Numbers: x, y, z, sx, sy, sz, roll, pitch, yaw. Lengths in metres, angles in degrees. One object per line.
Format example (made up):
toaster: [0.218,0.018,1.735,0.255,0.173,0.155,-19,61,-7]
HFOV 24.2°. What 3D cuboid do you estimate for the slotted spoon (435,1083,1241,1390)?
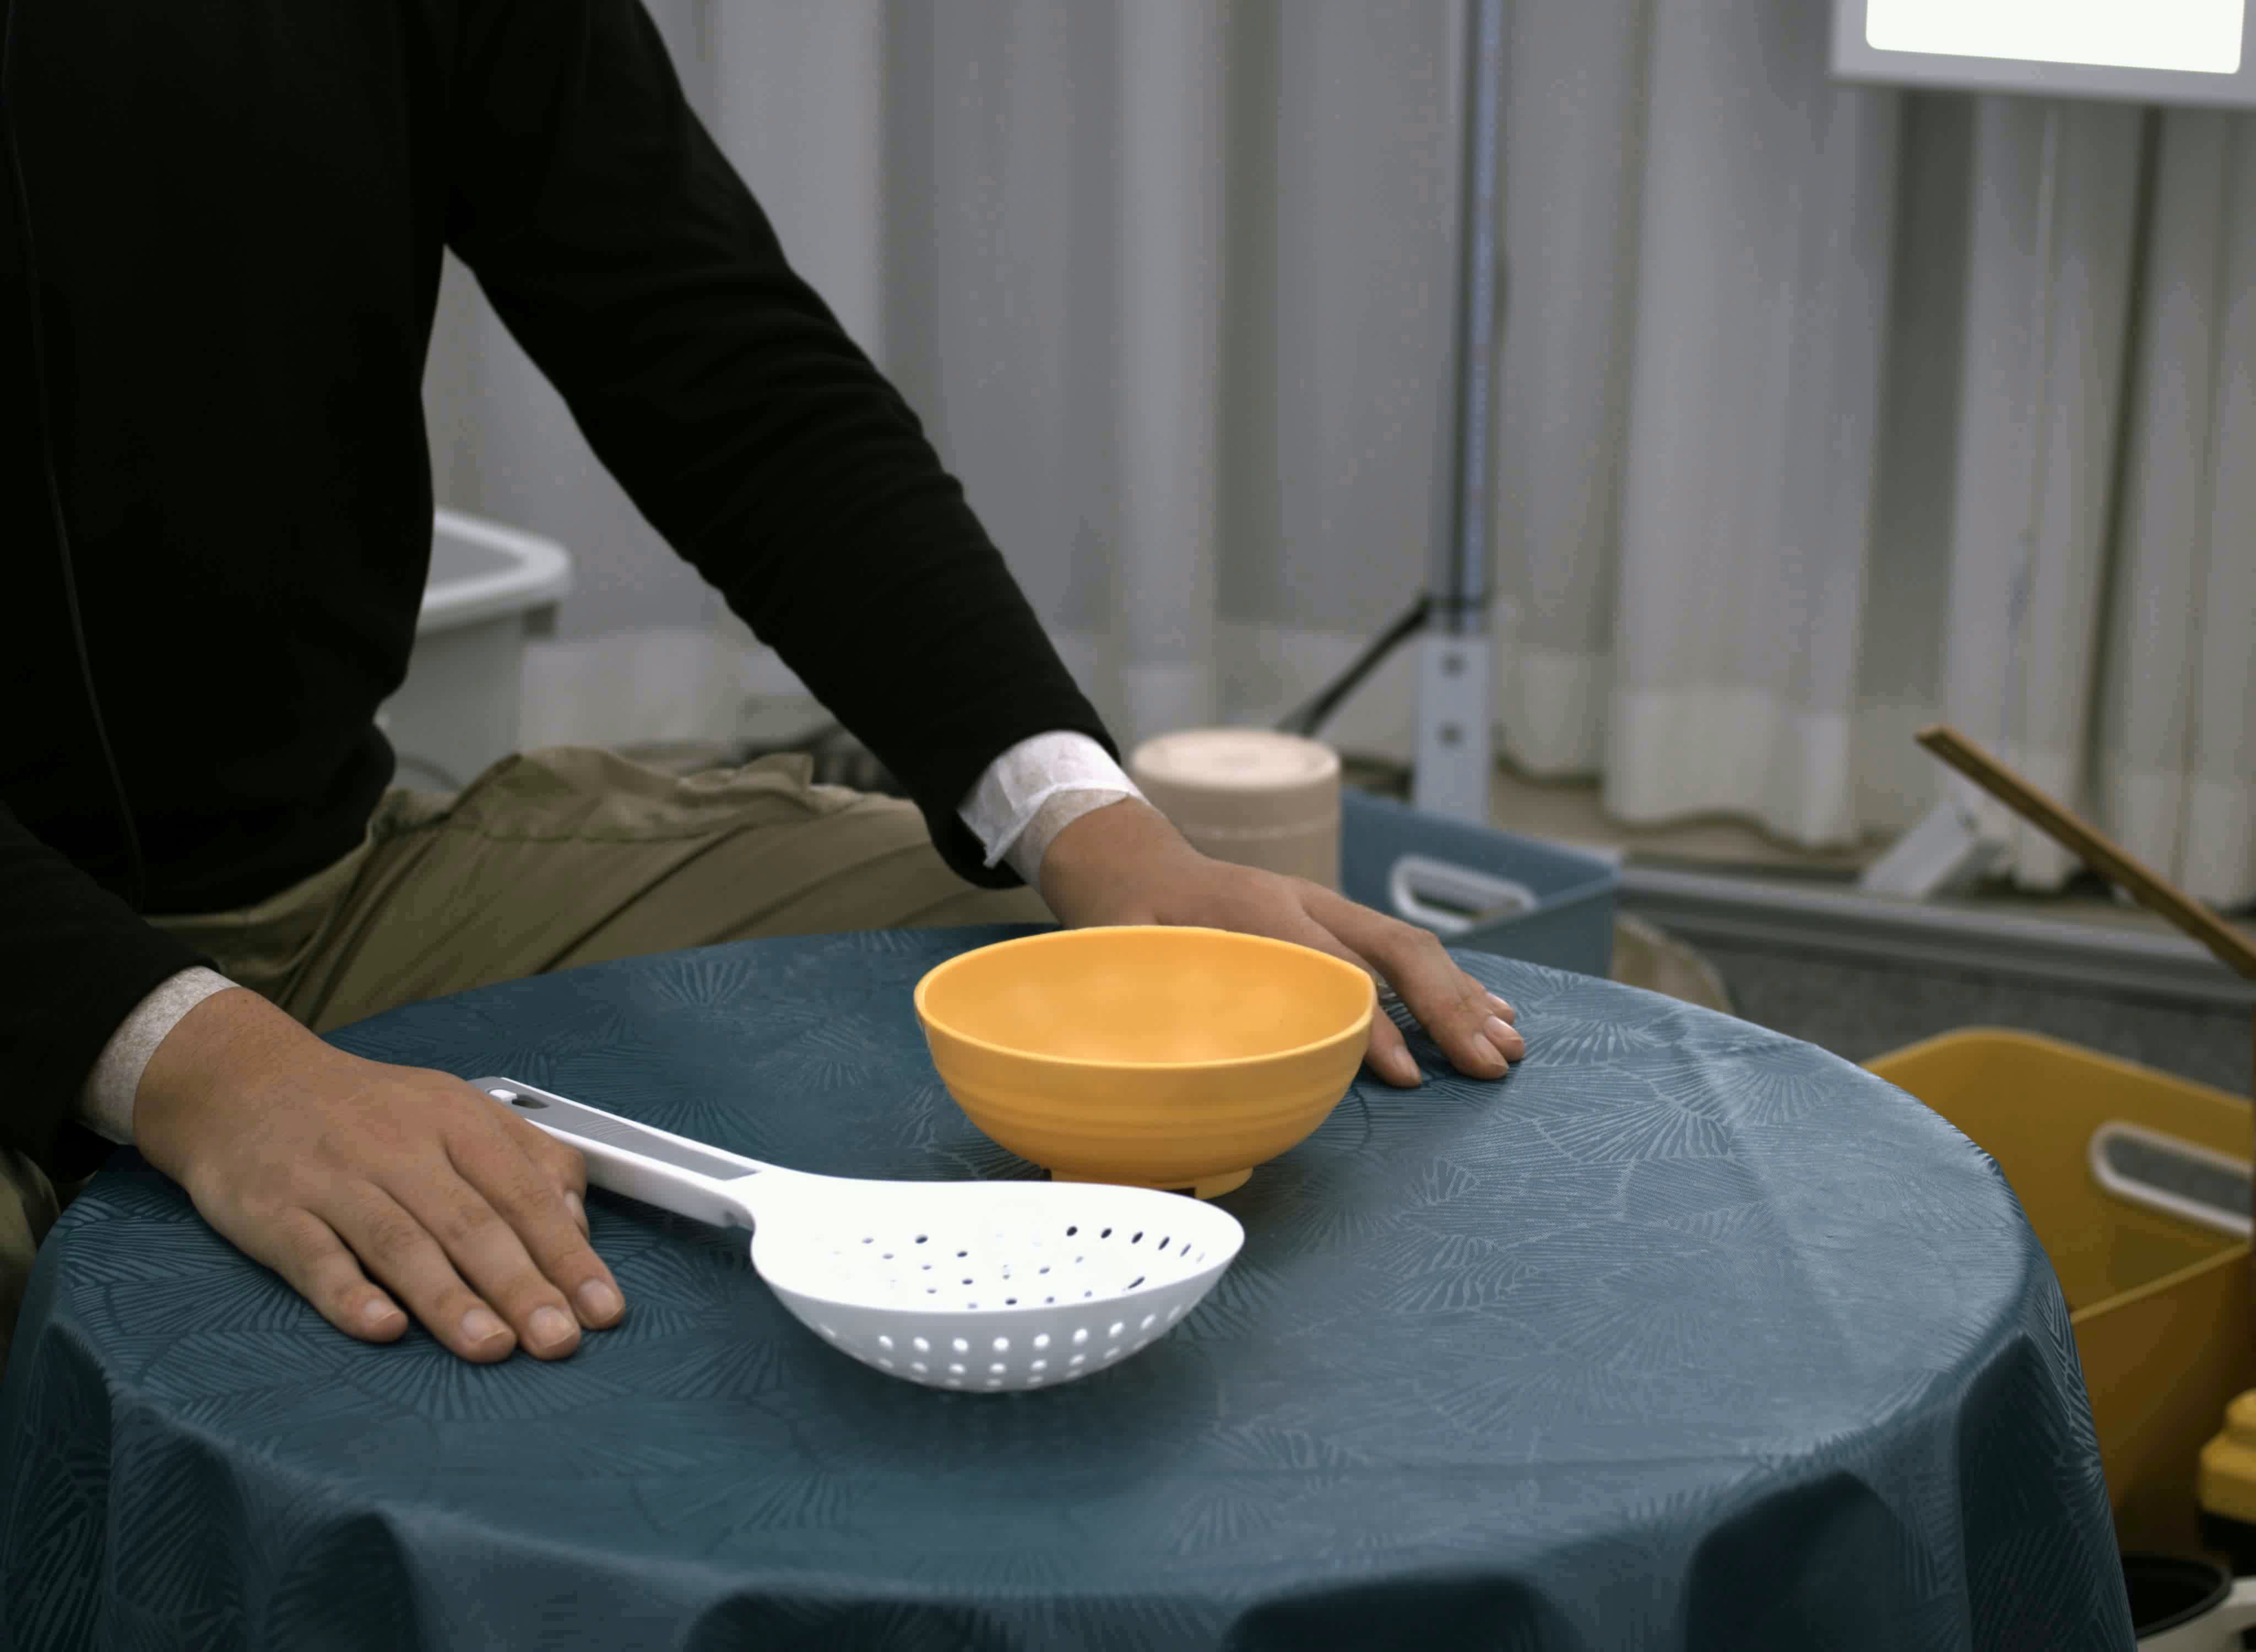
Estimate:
slotted spoon: [-0.103,0.110,1.540,0.137,0.046,0.345,-11,18,-38]

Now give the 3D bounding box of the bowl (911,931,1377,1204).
bowl: [0.004,0.080,1.631,0.145,0.060,0.144,2,15,0]
